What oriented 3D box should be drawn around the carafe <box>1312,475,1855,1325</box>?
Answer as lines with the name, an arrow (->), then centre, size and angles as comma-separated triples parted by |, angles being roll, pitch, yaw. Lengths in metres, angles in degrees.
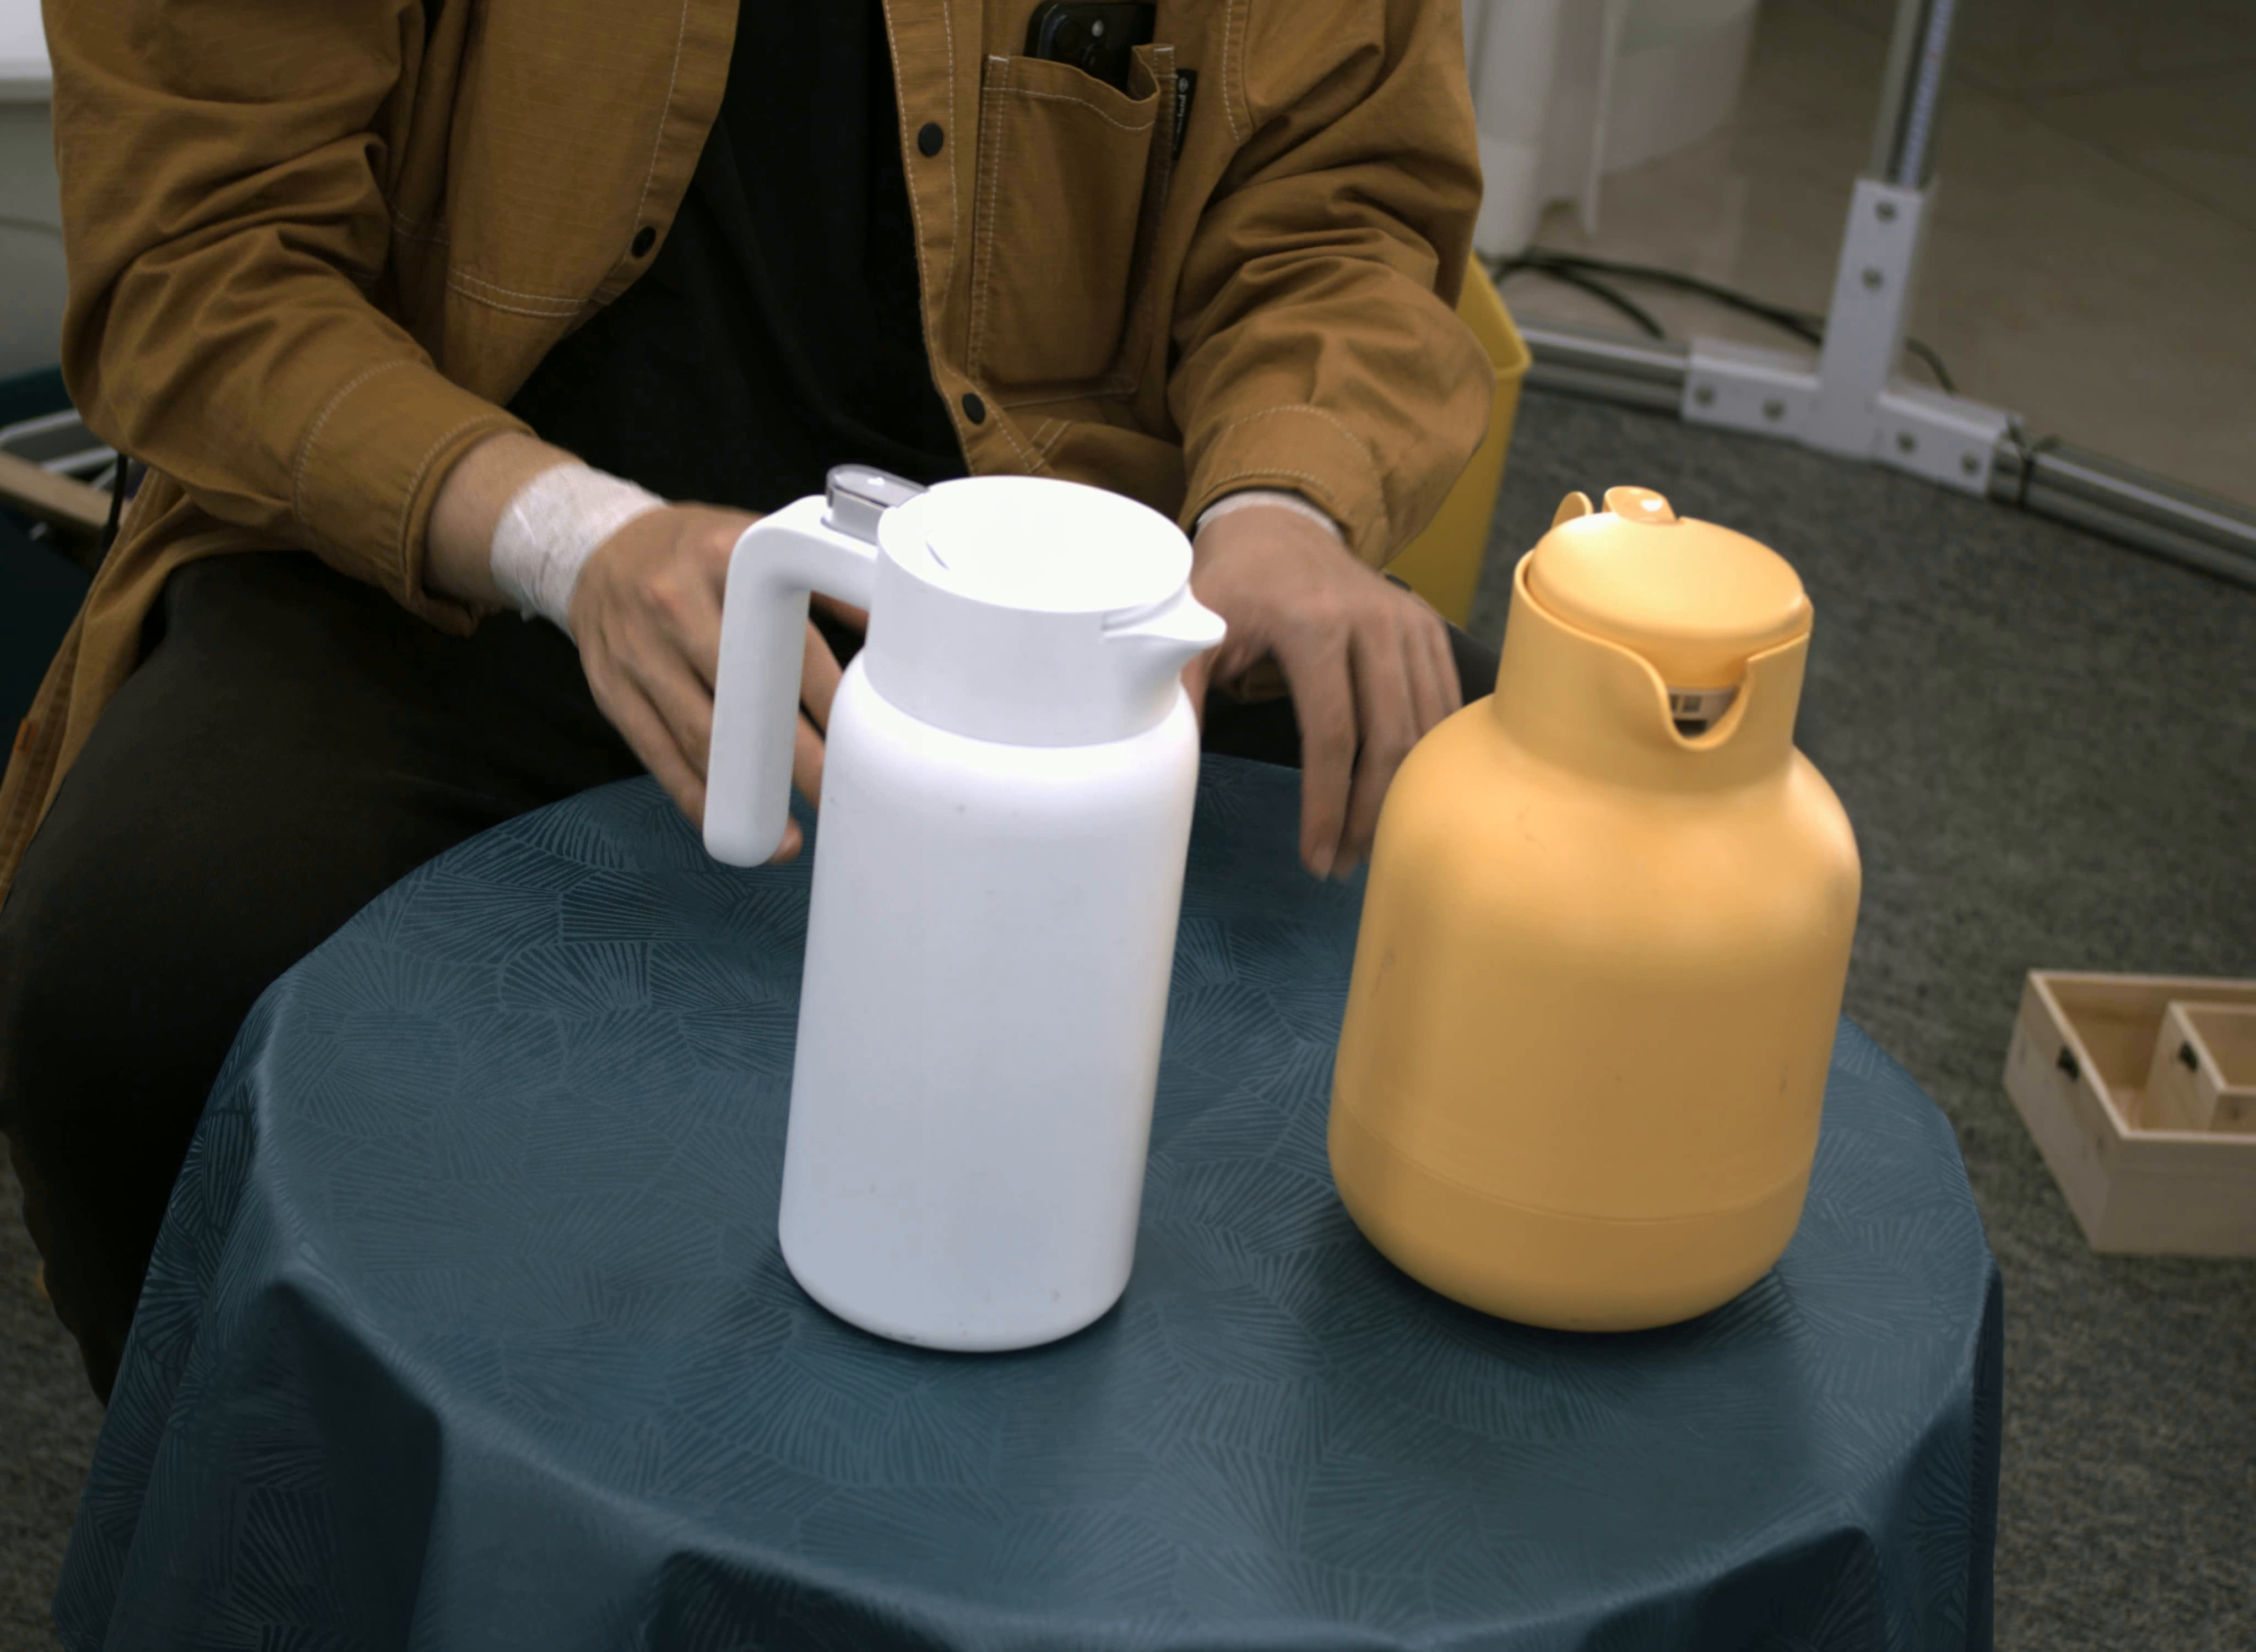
carafe -> 0.156, 0.015, 1.764 | 0.163, 0.259, 0.204 | 7, 28, -7

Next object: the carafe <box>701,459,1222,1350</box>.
carafe -> -0.059, 0.022, 1.697 | 0.173, 0.268, 0.123 | 20, 31, 25
